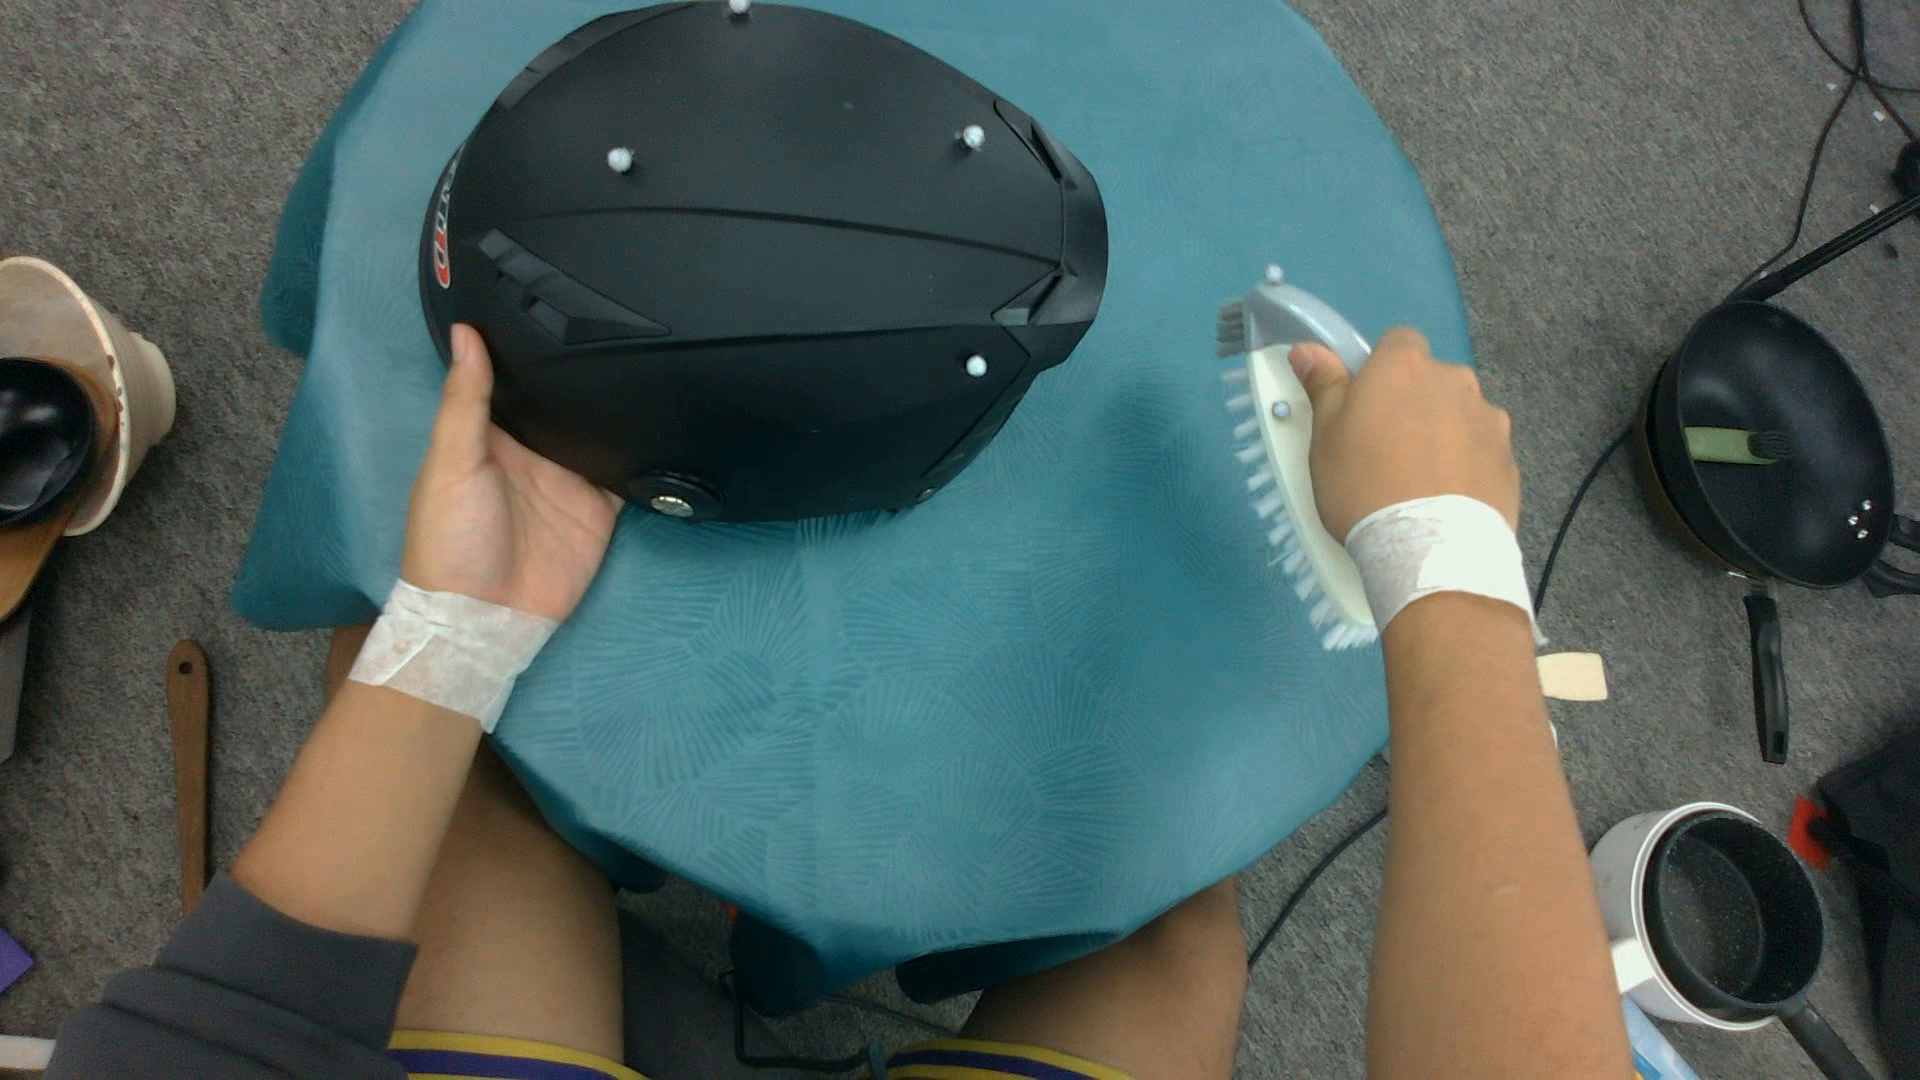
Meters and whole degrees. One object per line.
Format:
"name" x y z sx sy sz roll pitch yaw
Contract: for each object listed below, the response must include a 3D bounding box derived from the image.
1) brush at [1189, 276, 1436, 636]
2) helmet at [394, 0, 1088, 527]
"brush" 0.158 -0.052 0.623 0.061 0.094 0.176 -14 72 -23
"helmet" -0.091 -0.136 0.590 0.277 0.171 0.247 9 71 -20
